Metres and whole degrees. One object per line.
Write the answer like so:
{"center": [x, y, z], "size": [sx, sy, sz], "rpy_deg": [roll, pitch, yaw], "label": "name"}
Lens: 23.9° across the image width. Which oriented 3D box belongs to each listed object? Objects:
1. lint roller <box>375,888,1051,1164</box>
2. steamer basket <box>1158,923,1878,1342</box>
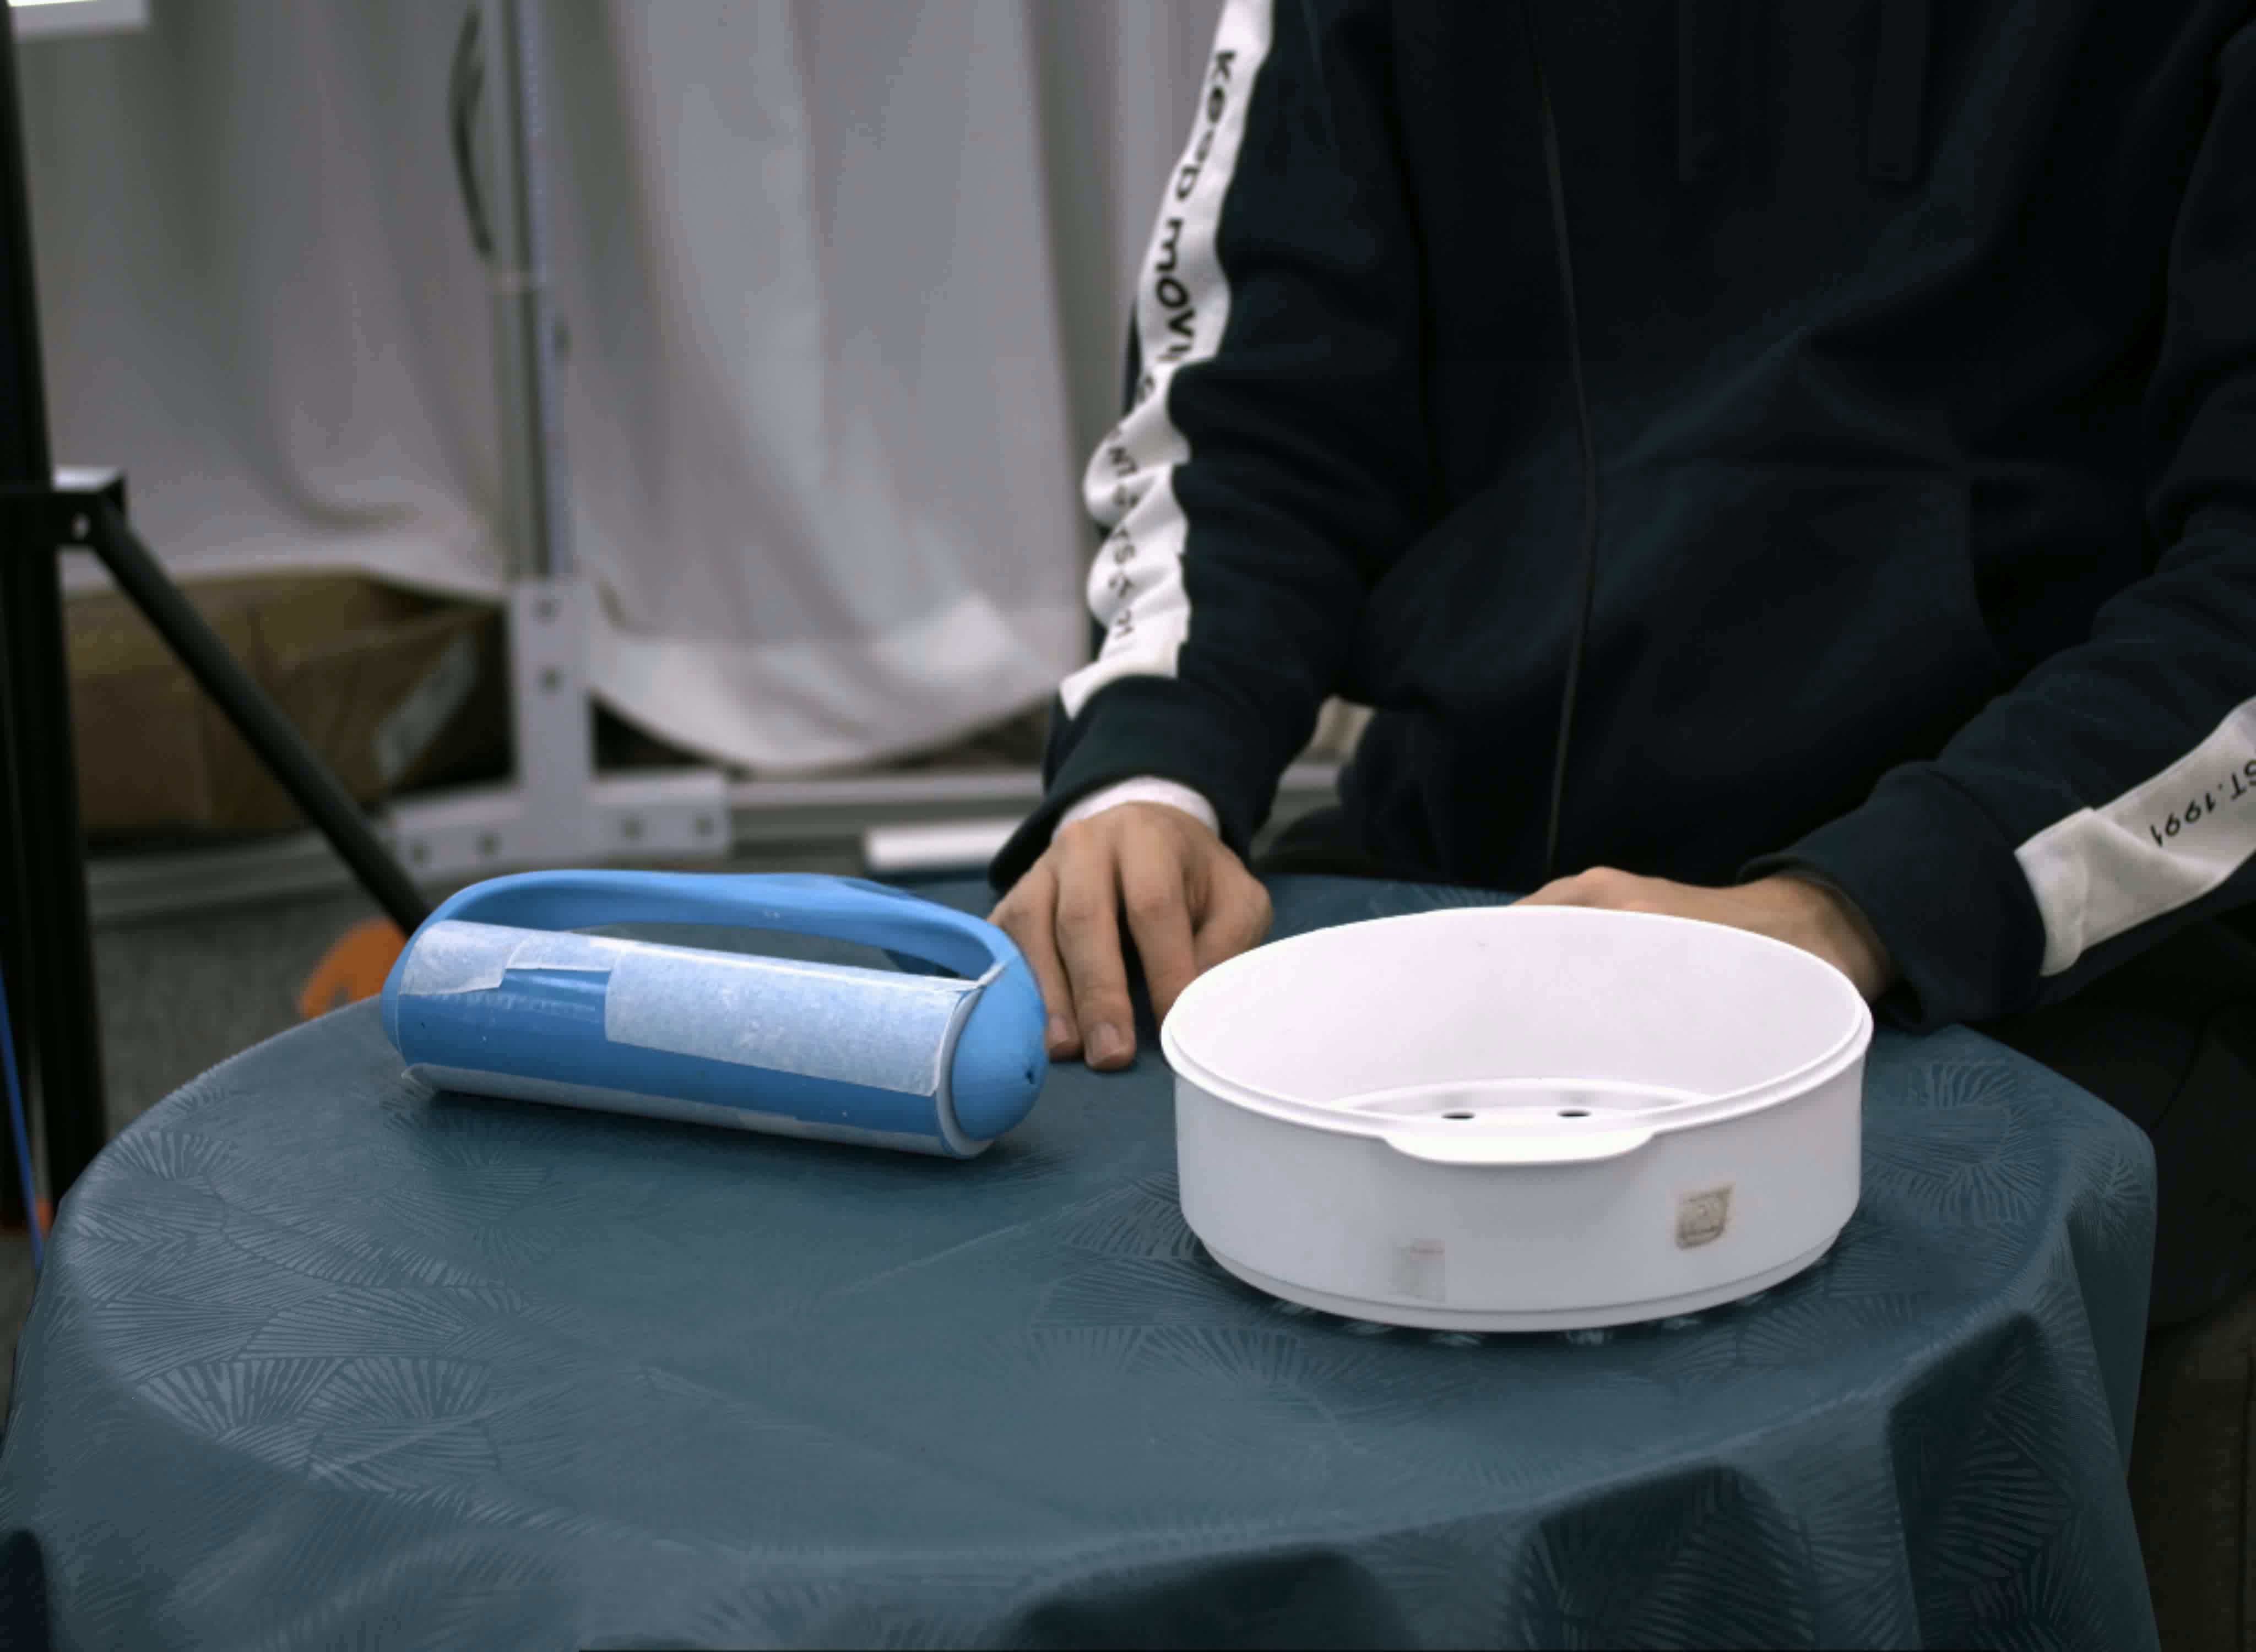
{"center": [-0.108, 0.050, 1.682], "size": [0.232, 0.068, 0.178], "rpy_deg": [2, 17, 24], "label": "lint roller"}
{"center": [0.110, 0.086, 1.494], "size": [0.202, 0.069, 0.230], "rpy_deg": [0, 15, 5], "label": "steamer basket"}
